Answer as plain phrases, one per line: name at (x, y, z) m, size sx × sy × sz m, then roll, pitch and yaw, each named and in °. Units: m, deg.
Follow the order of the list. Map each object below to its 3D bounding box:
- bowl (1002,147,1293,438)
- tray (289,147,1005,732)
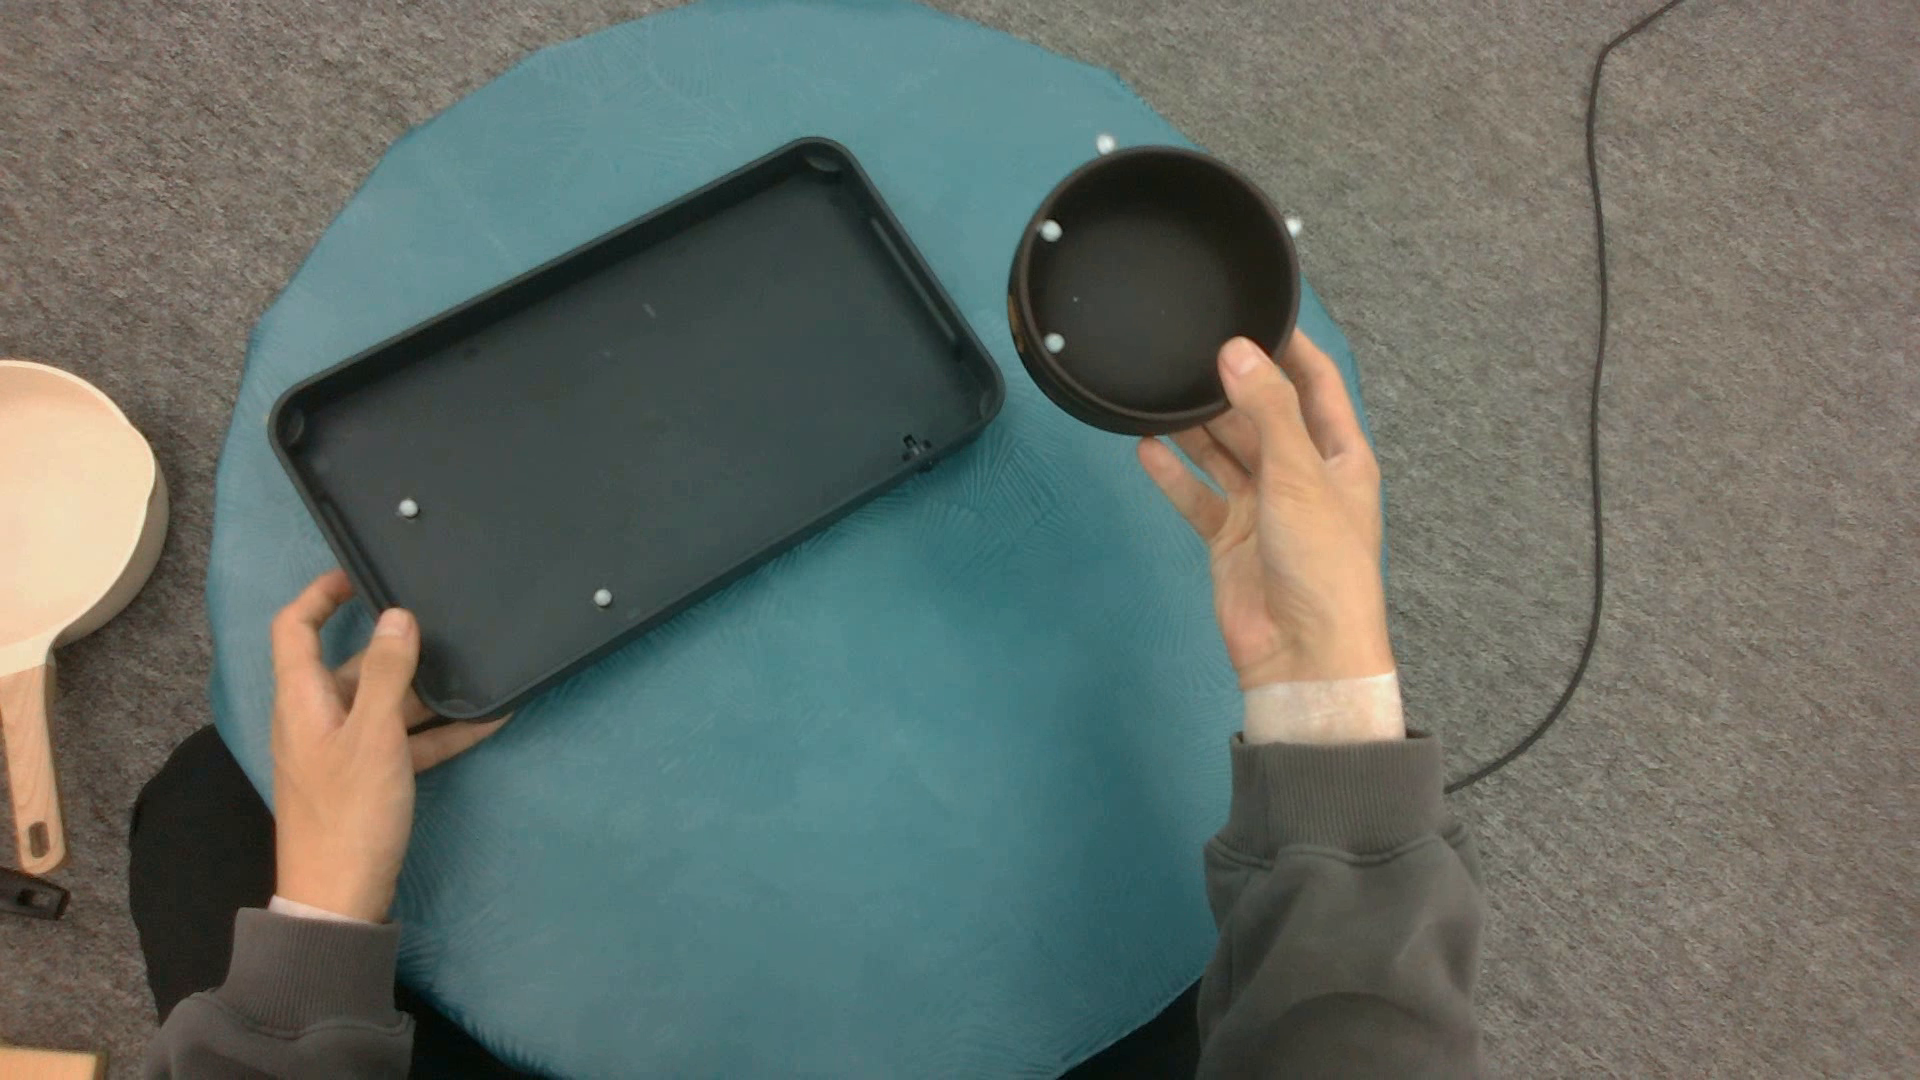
bowl at (0.075, -0.100, 0.587) m, size 0.118 × 0.070 × 0.118 m, roll 0°, pitch 85°, yaw -4°
tray at (-0.150, -0.057, 0.700) m, size 0.319 × 0.037 × 0.184 m, roll -33°, pitch 82°, yaw -16°
